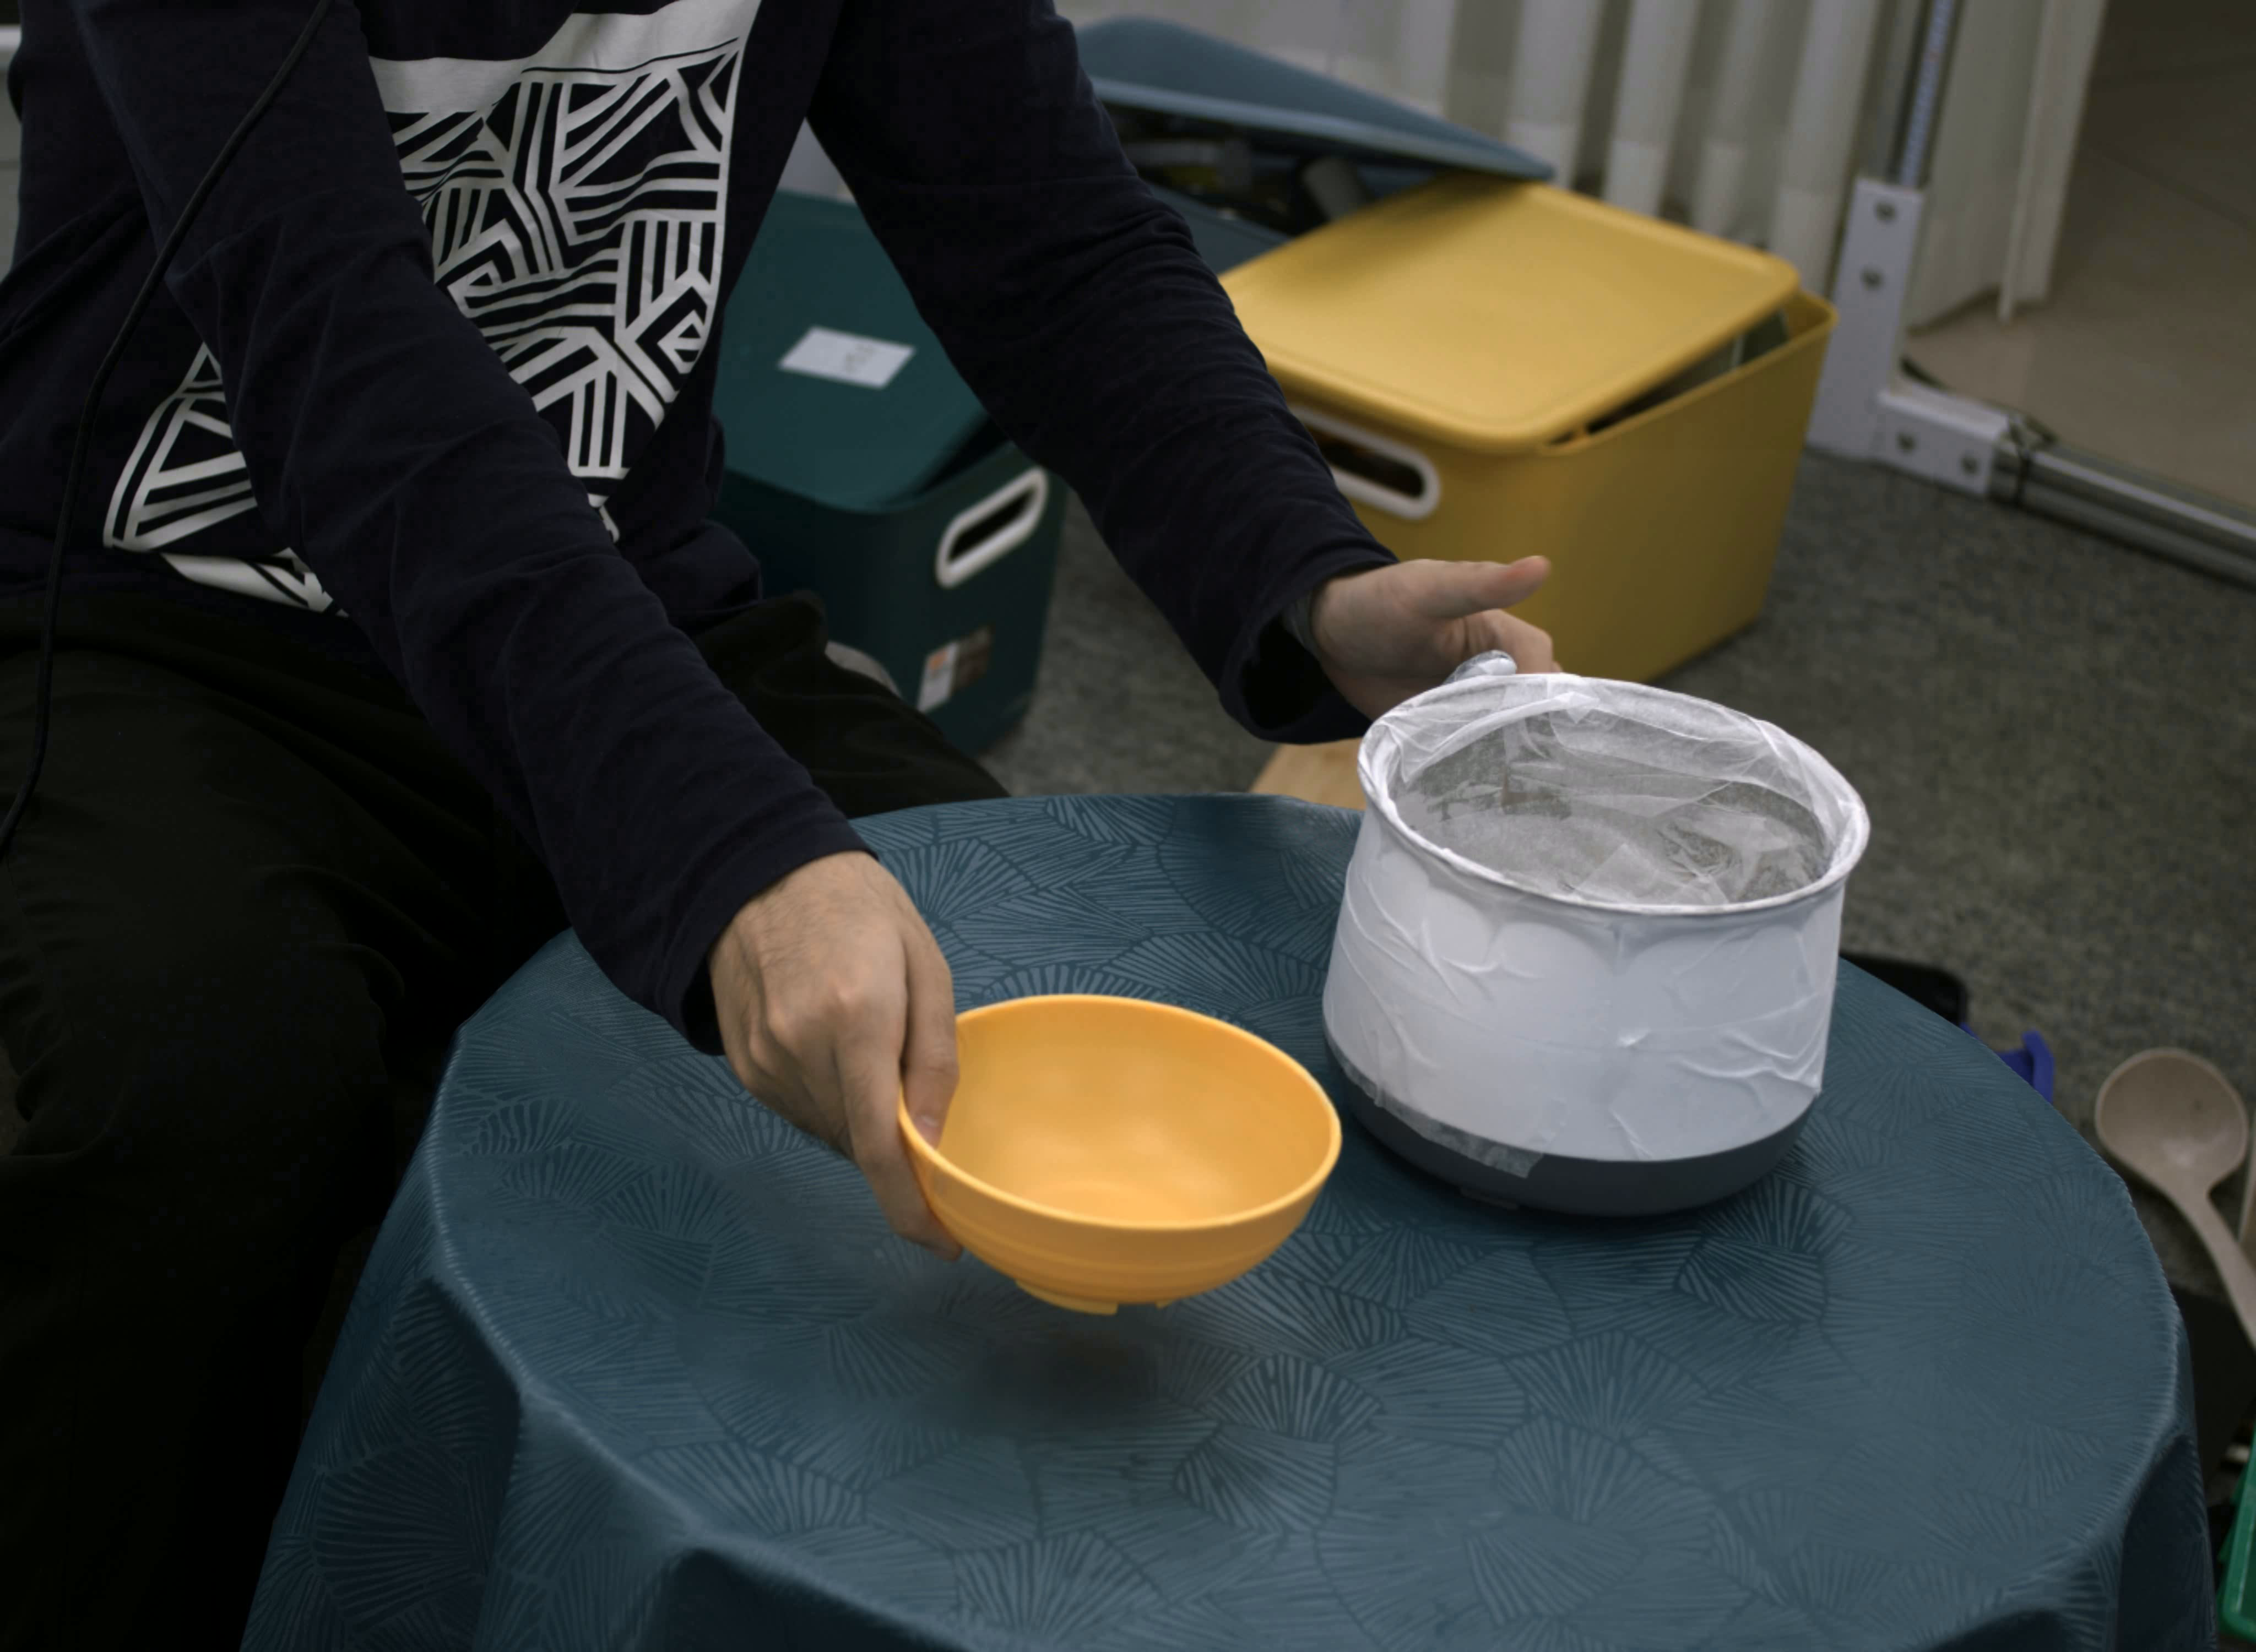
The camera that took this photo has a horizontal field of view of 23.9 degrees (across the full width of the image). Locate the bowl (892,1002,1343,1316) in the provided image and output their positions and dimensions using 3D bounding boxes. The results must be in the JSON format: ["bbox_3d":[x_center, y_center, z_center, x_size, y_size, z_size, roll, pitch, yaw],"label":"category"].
[{"bbox_3d":[-0.005,0.115,1.708,0.145,0.060,0.146,4,26,-2],"label":"bowl"}]

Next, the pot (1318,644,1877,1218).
[{"bbox_3d":[0.149,0.030,1.871,0.177,0.136,0.236,-2,29,-24],"label":"pot"}]
